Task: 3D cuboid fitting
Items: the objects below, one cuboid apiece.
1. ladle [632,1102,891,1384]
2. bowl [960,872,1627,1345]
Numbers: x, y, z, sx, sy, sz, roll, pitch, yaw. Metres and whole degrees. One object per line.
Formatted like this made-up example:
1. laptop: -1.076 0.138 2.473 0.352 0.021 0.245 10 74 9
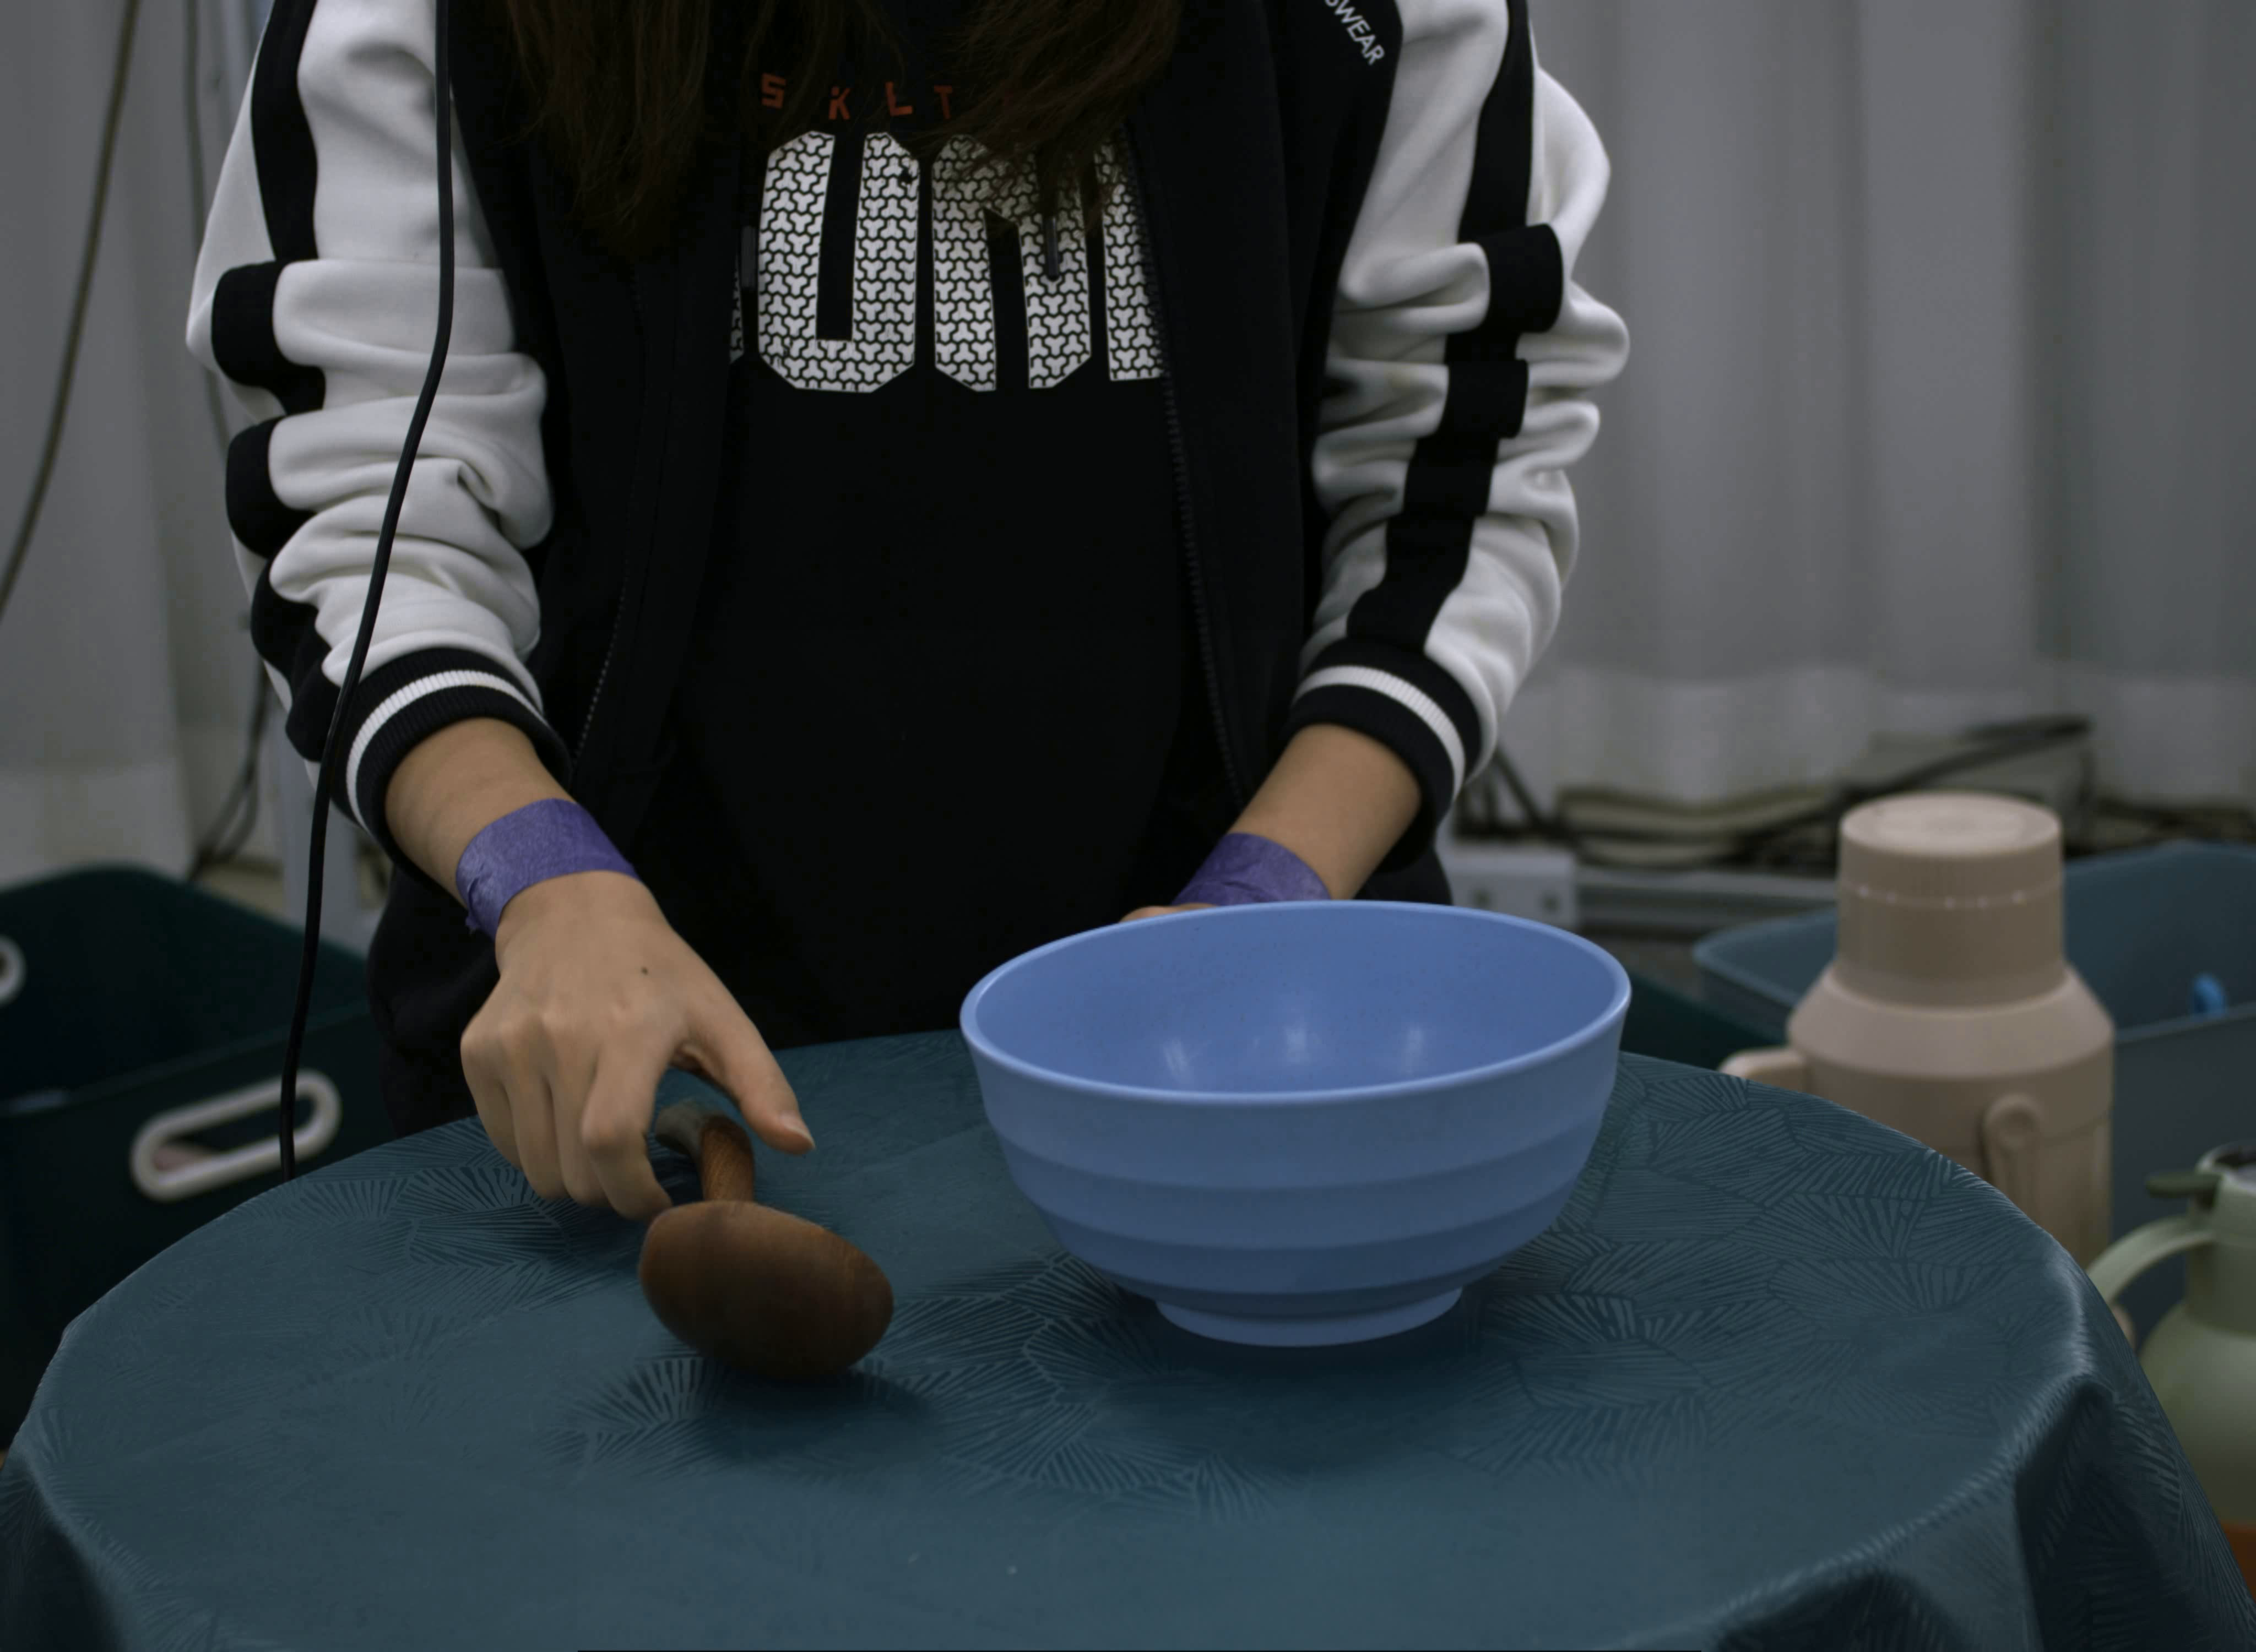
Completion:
1. ladle: -0.116 0.108 1.644 0.076 0.065 0.262 29 9 -13
2. bowl: 0.054 0.091 1.611 0.196 0.095 0.198 -7 18 2
